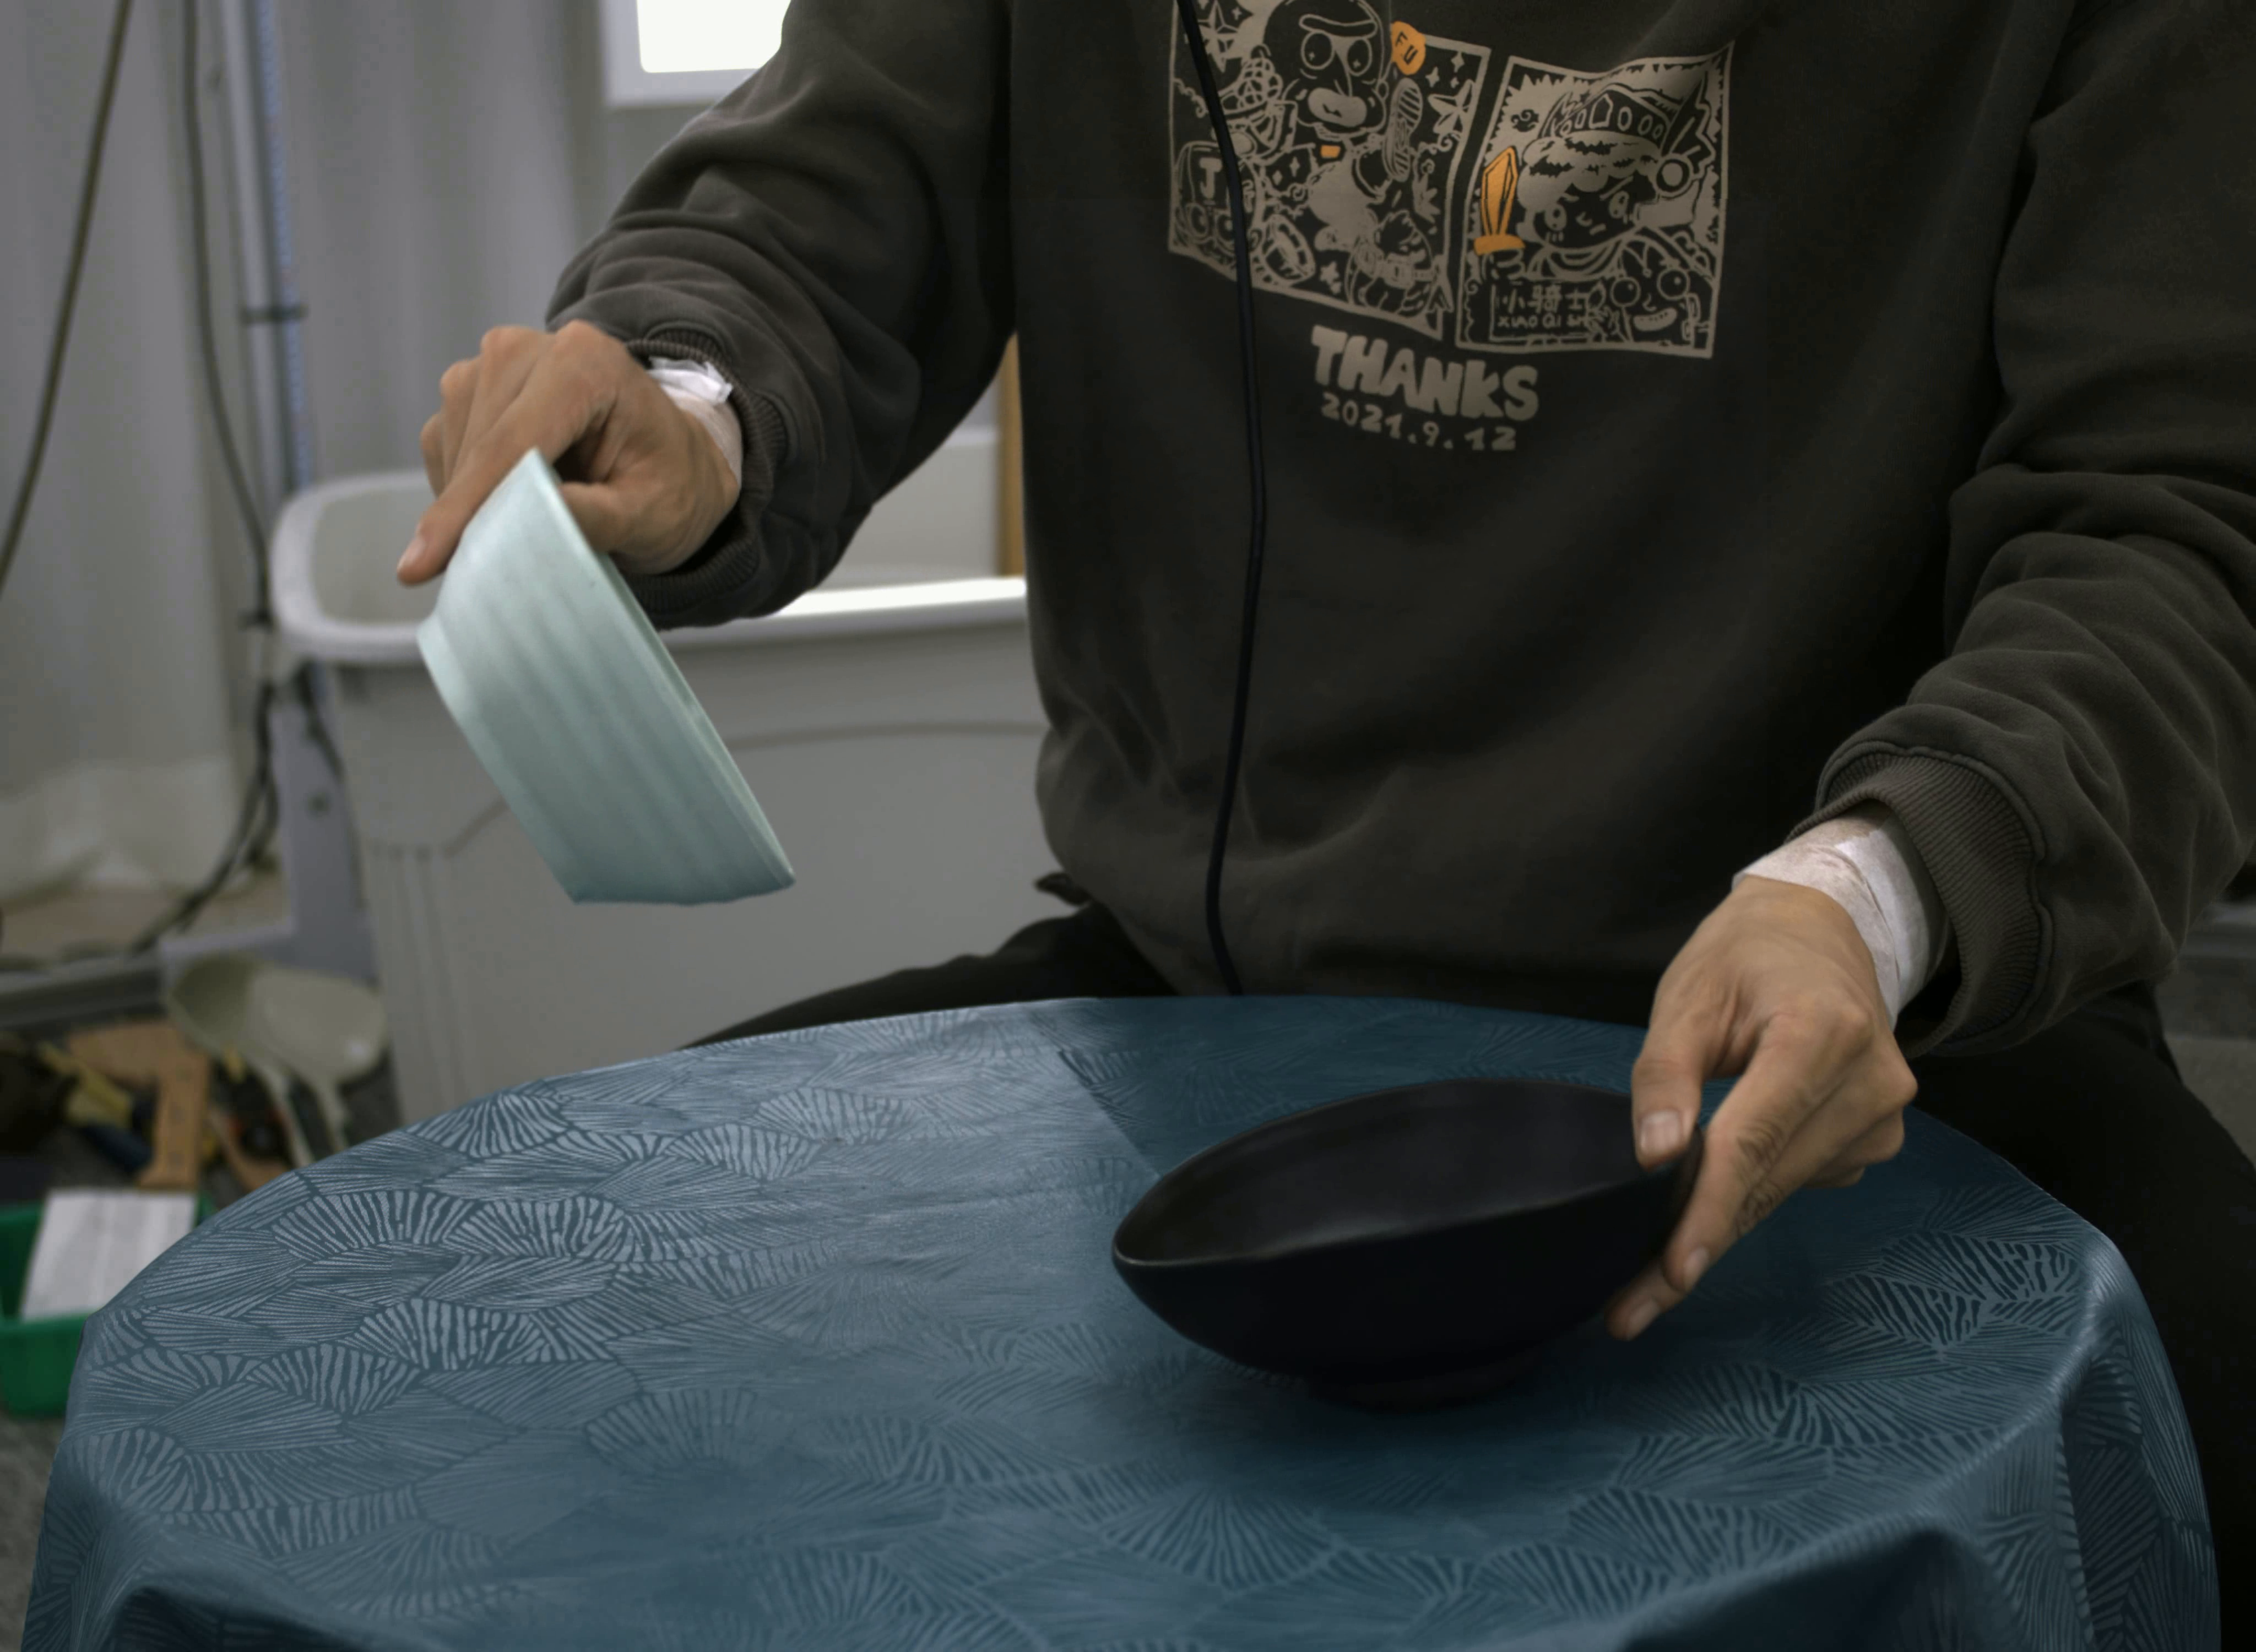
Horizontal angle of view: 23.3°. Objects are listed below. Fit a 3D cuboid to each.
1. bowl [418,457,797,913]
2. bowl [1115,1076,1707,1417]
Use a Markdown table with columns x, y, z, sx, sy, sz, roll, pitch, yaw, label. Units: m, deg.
| x | y | z | sx | sy | sz | roll | pitch | yaw | label |
| --- | --- | --- | --- | --- | --- | --- | --- | --- | --- |
| -0.156 | -0.030 | 1.571 | 0.058 | 0.150 | 0.152 | -32 | 16 | 1 | bowl |
| 0.083 | 0.125 | 1.539 | 0.169 | 0.066 | 0.138 | -10 | 13 | -7 | bowl |
